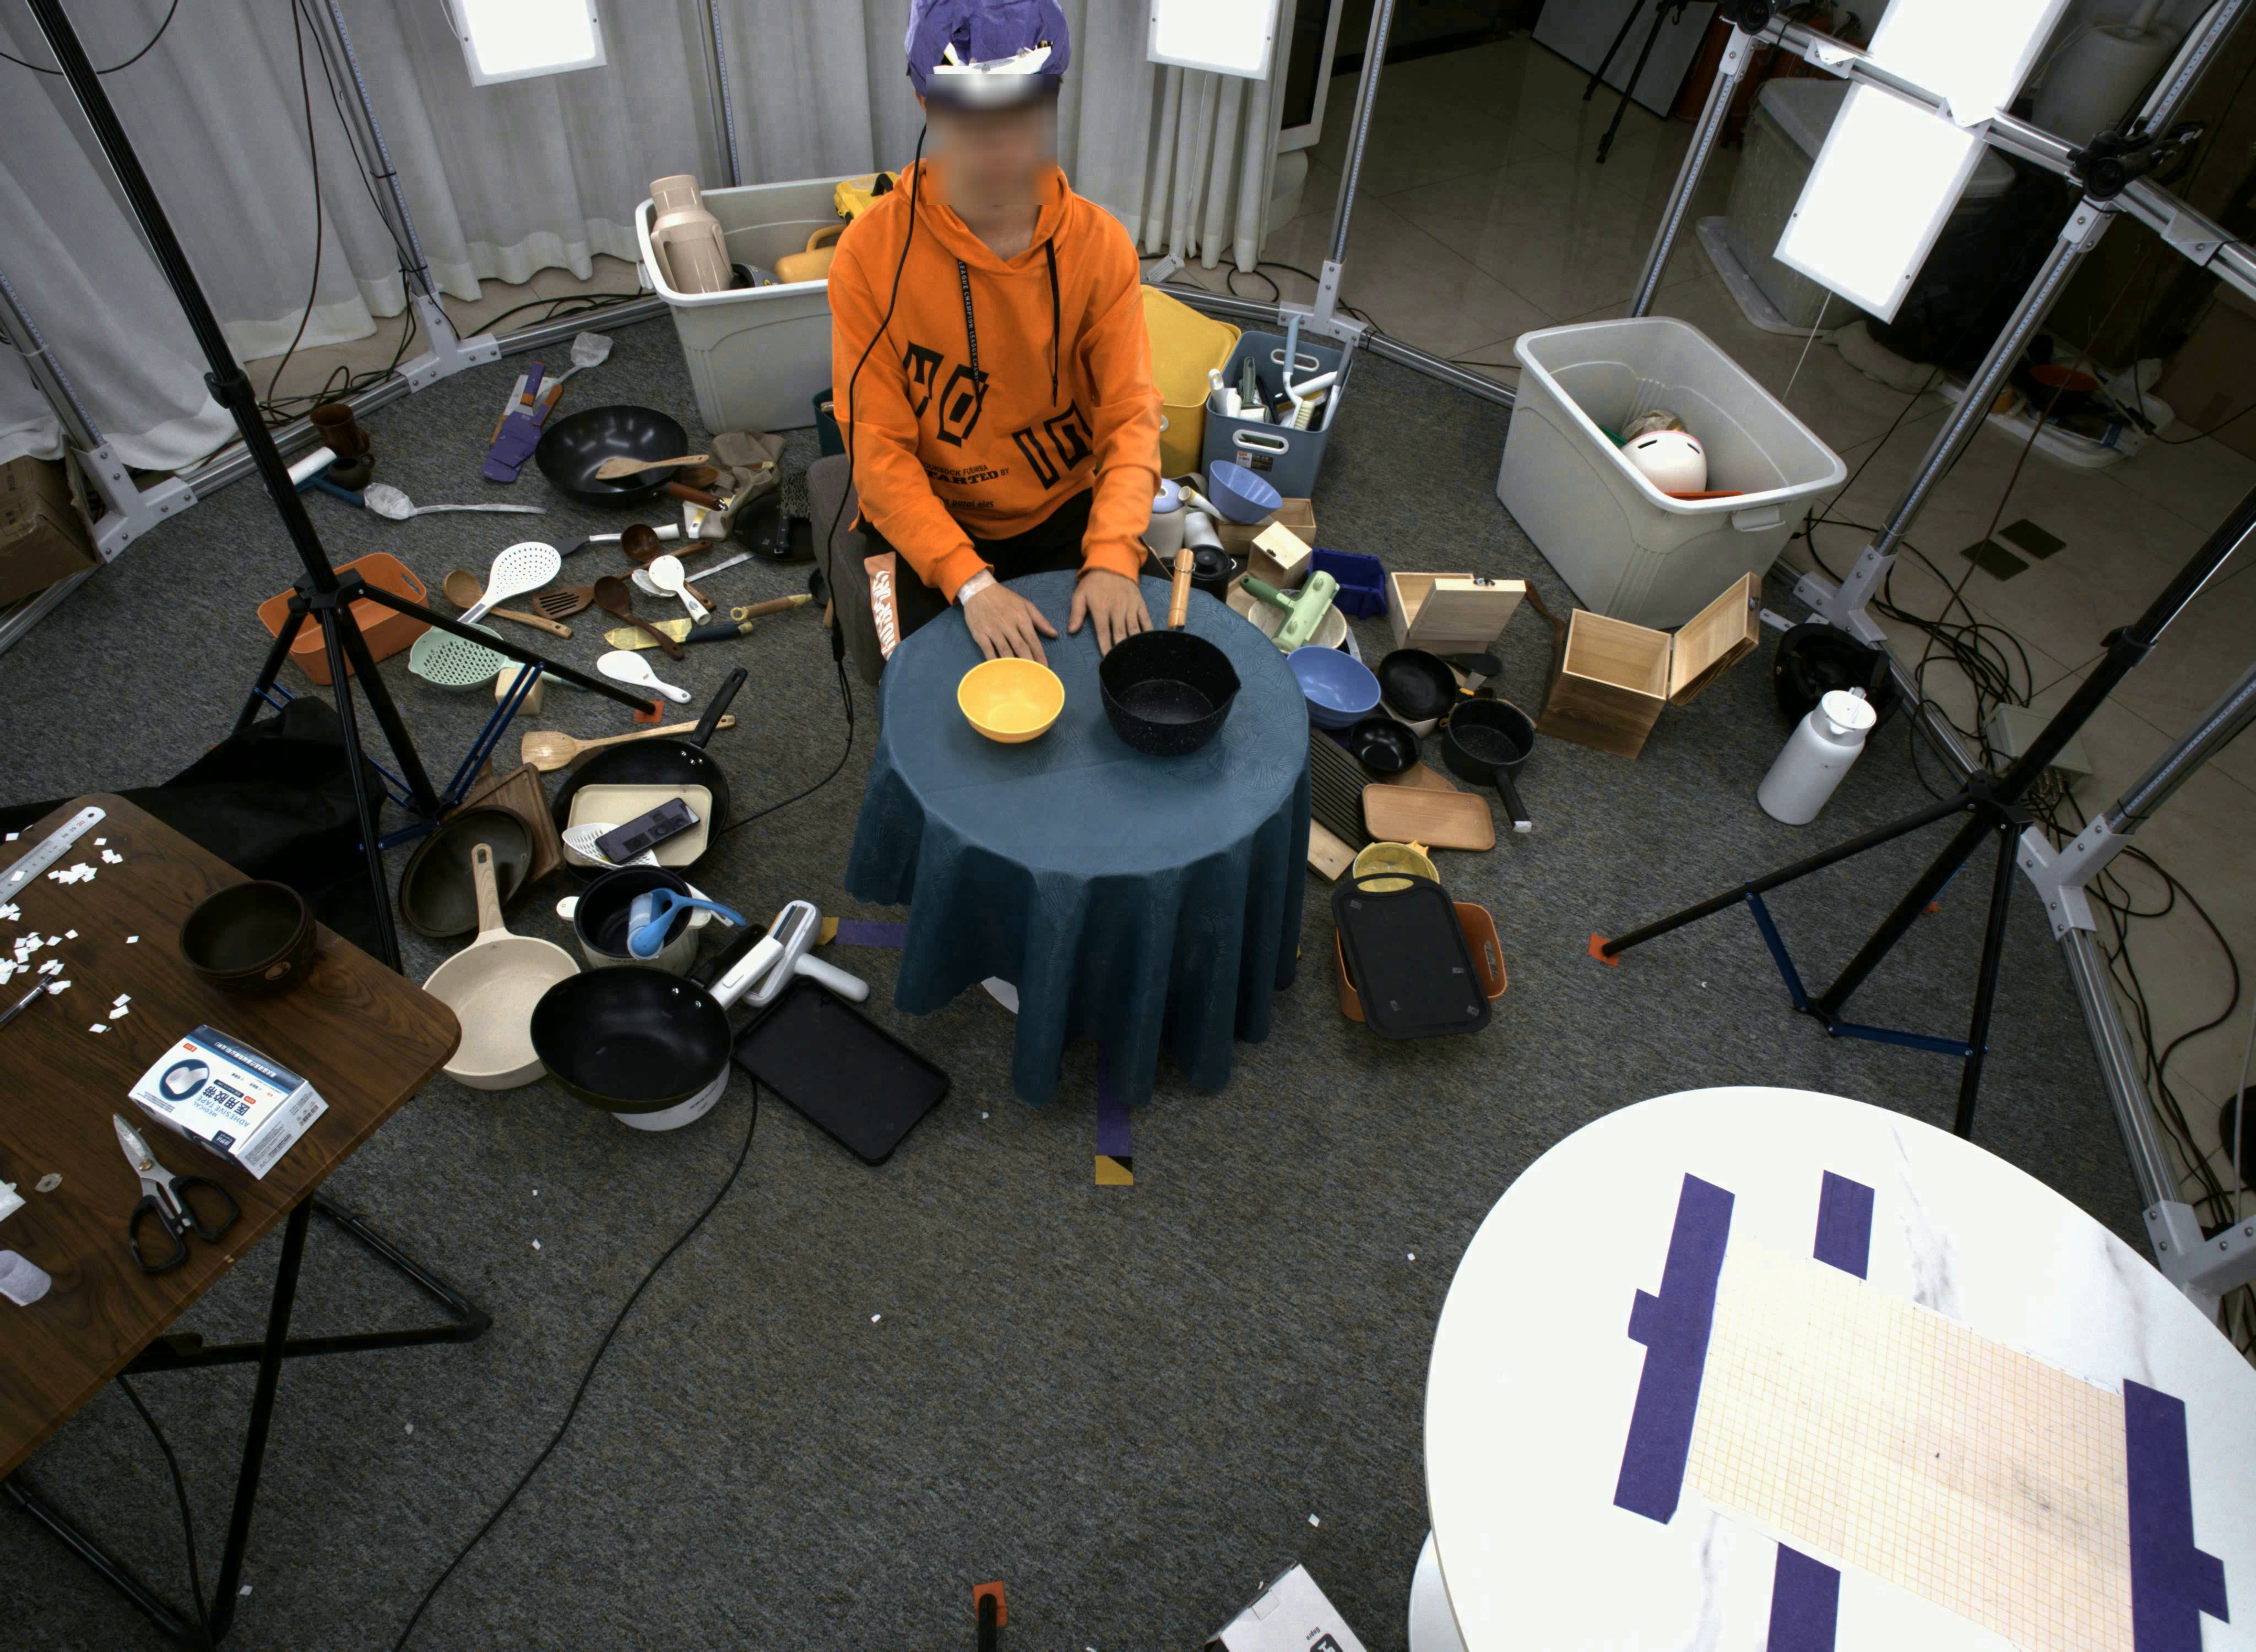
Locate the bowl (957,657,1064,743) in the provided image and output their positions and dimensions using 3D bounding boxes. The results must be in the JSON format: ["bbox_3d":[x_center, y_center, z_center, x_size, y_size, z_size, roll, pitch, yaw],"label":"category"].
[{"bbox_3d":[-0.161,-0.161,1.760,0.145,0.058,0.149,3,49,-4],"label":"bowl"}]

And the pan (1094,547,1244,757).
[{"bbox_3d":[0.062,-0.247,1.818,0.207,0.105,0.351,6,50,3],"label":"pan"}]
